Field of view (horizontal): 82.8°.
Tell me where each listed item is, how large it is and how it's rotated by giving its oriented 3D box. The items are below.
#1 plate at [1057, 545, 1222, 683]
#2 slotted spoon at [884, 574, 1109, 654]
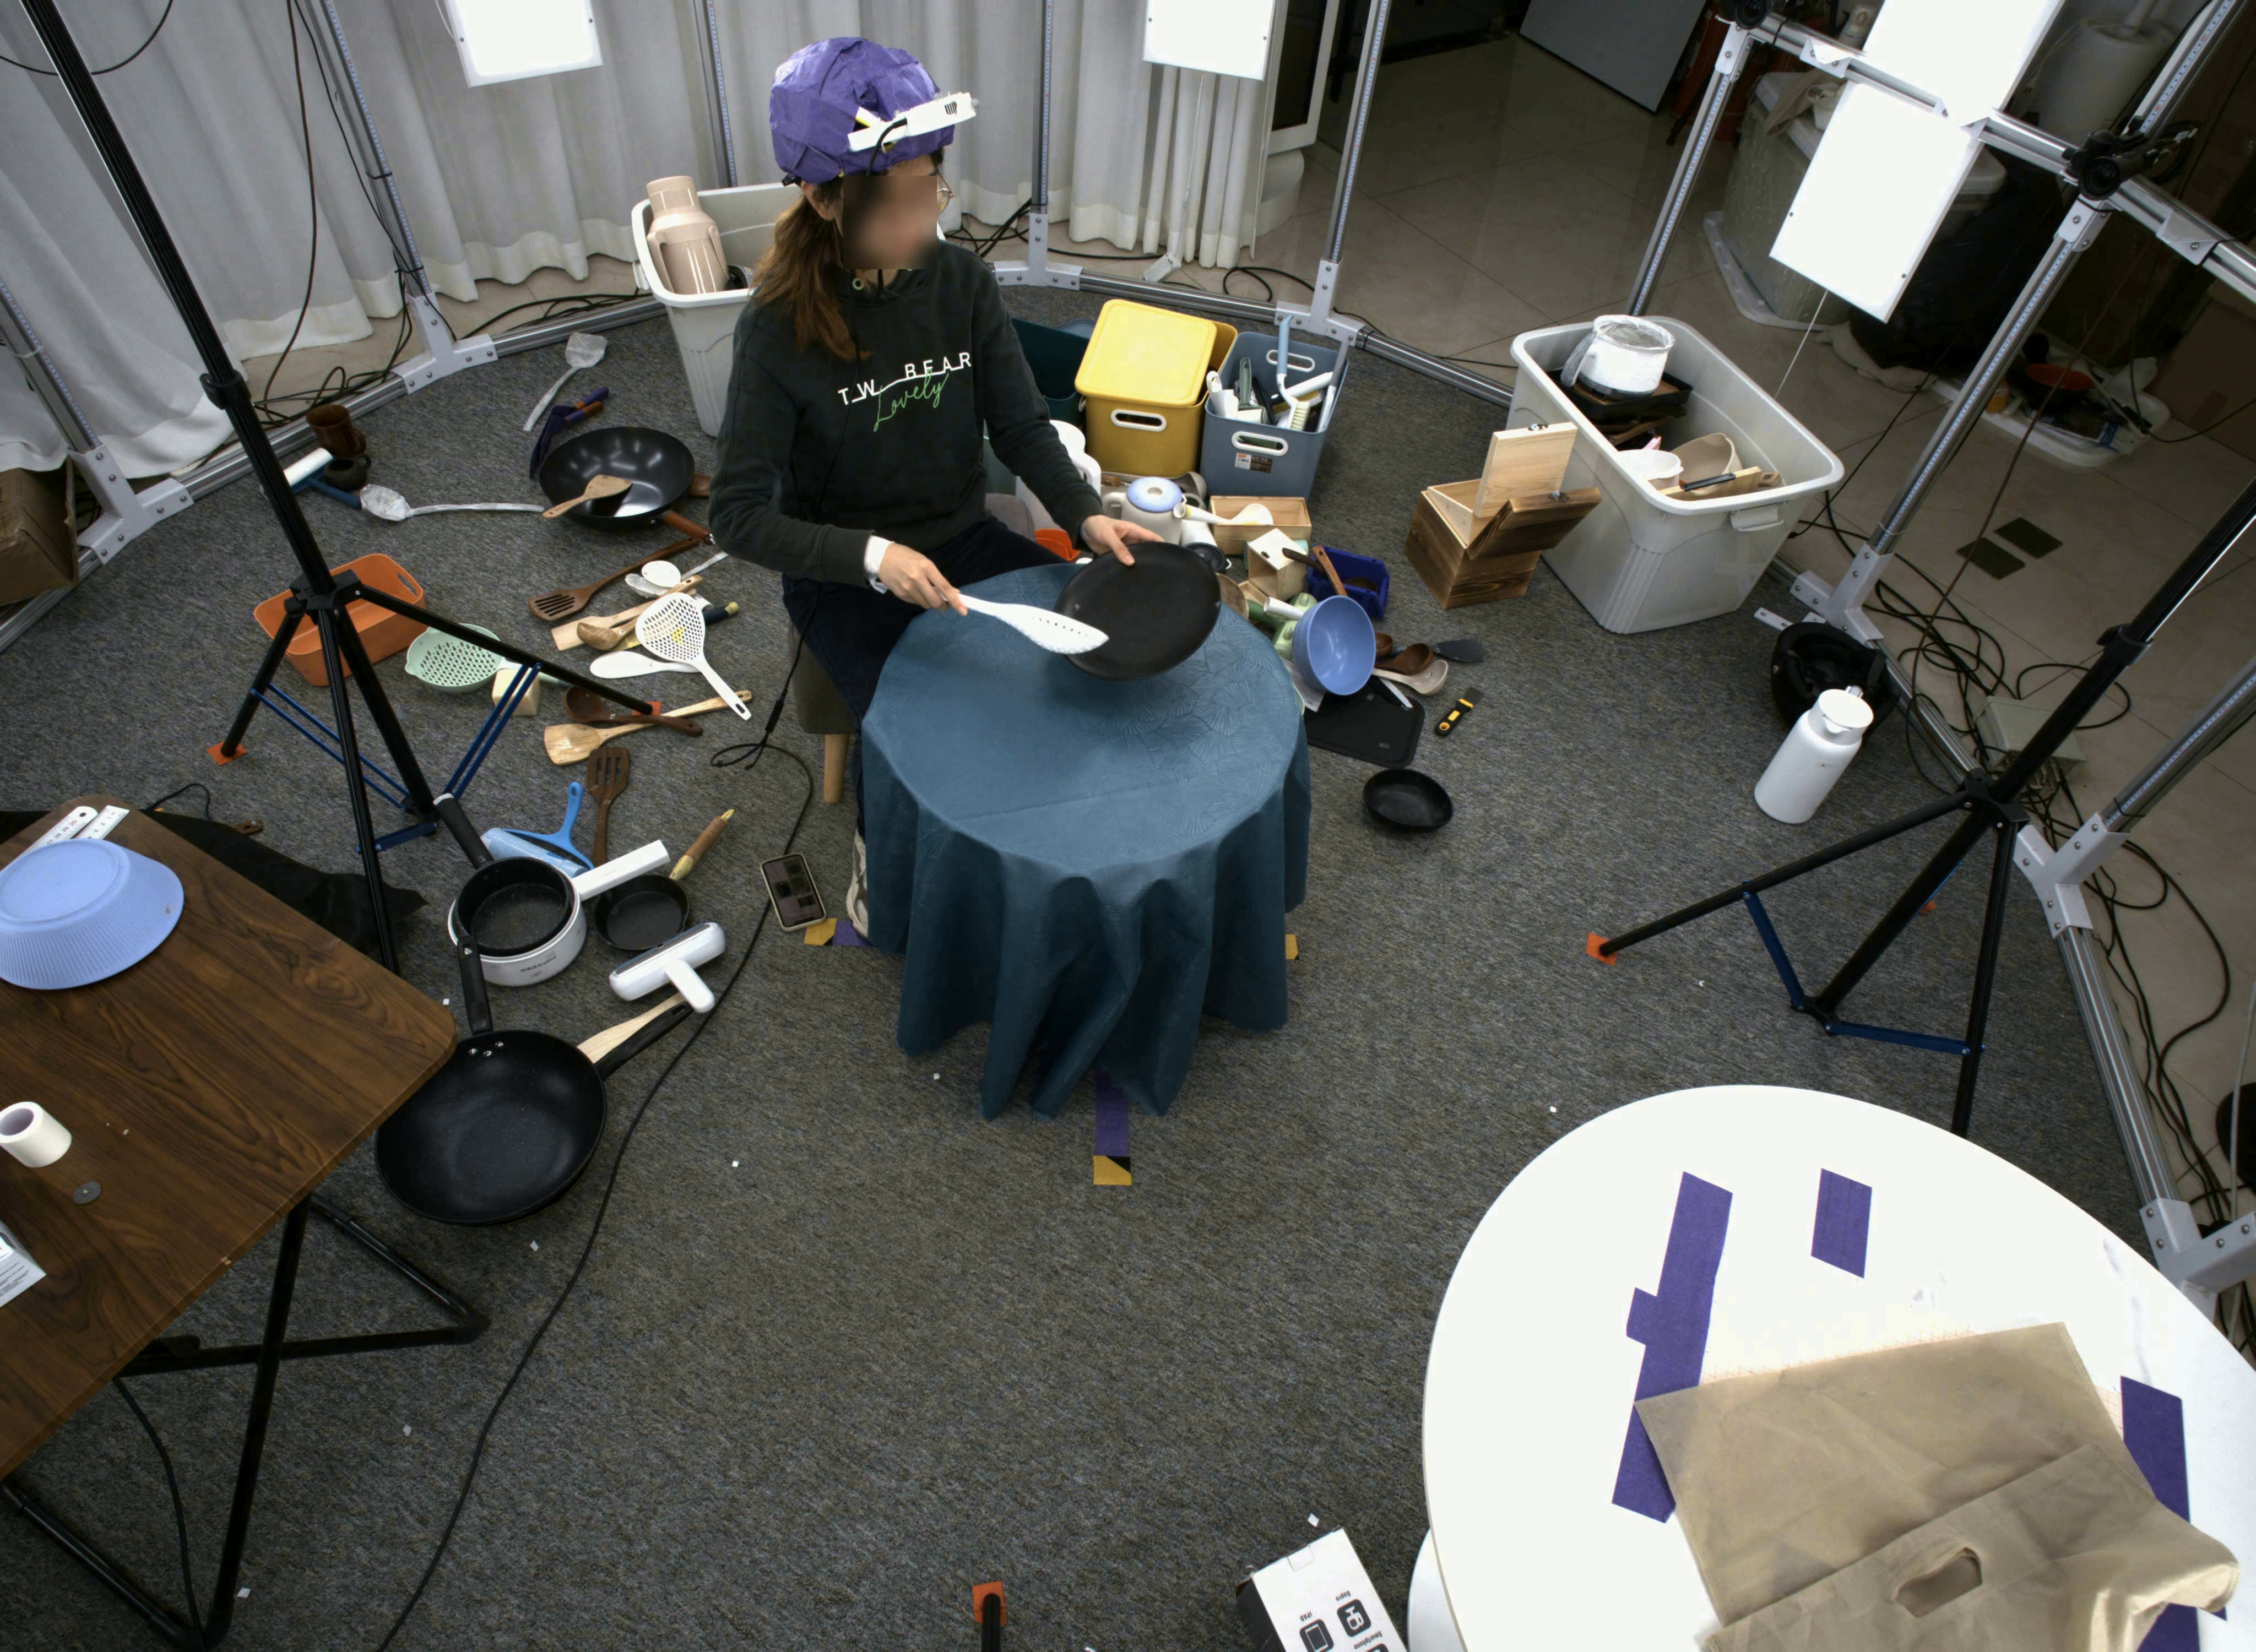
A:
[{"bbox_3d":[0.016,-0.299,1.824,0.244,0.023,0.250,-8,57,12],"label":"plate"},{"bbox_3d":[-0.187,-0.299,1.774,0.353,0.134,0.046,23,90,22],"label":"slotted spoon"}]
